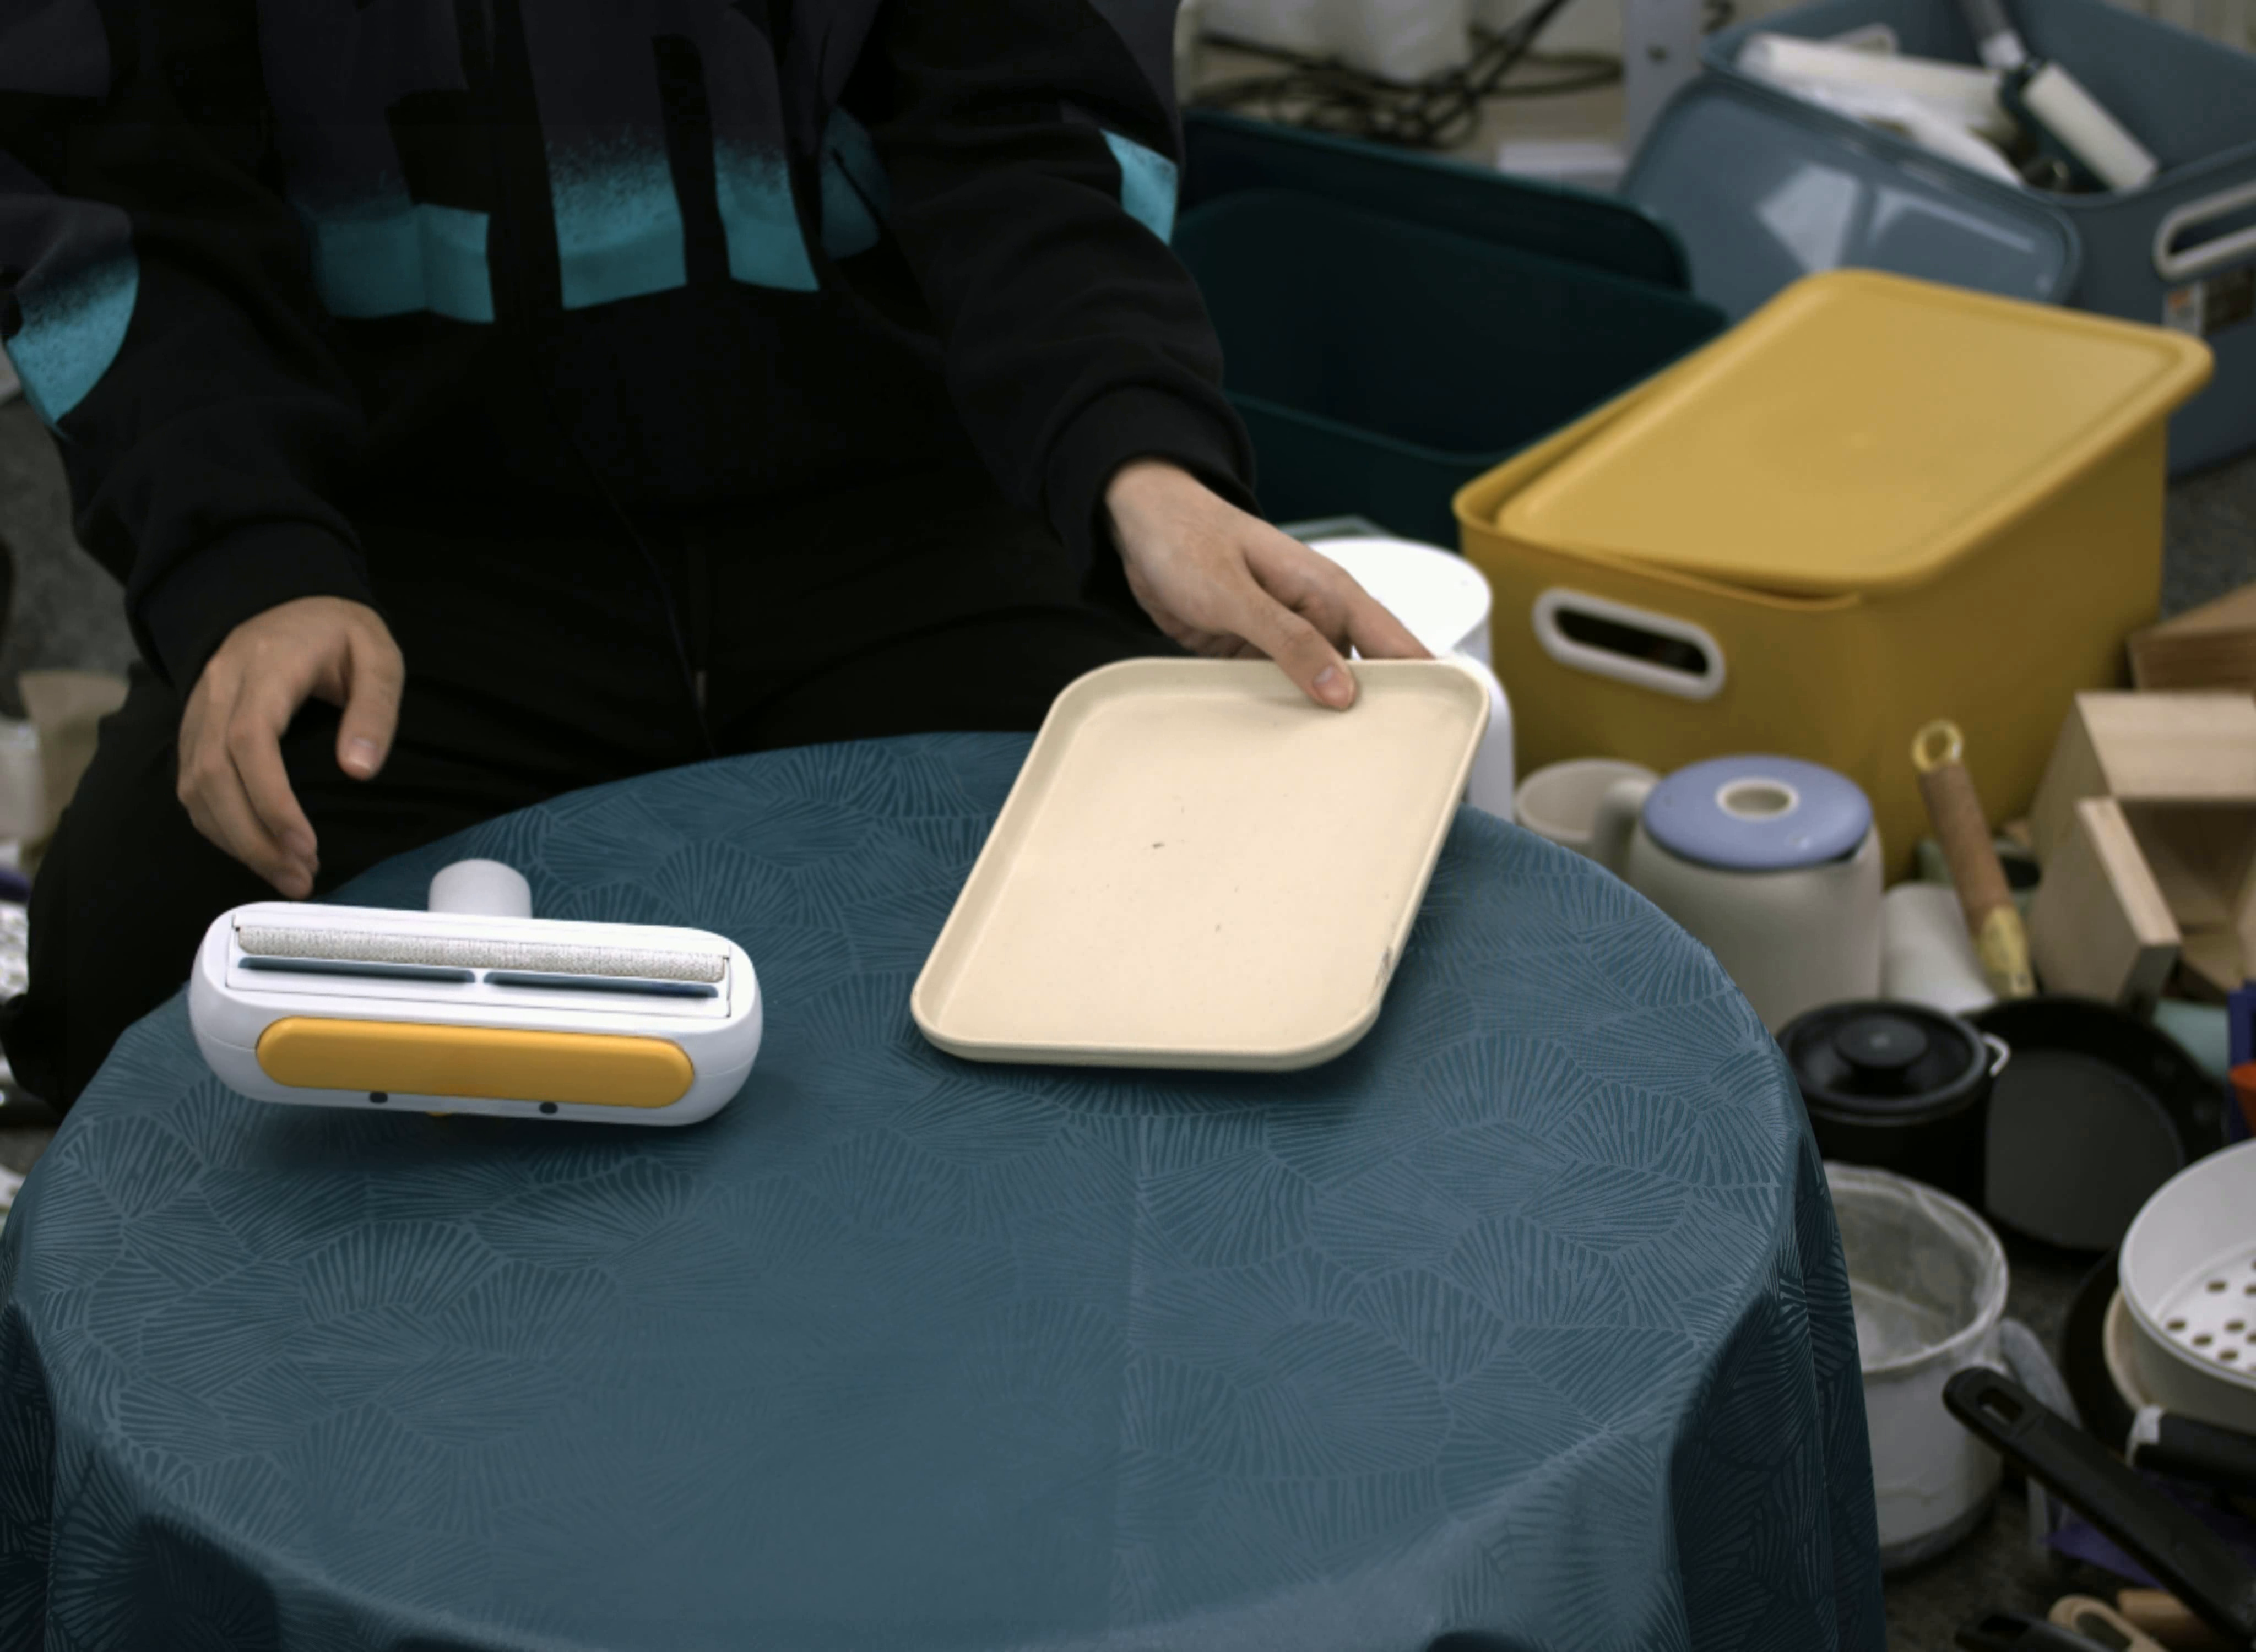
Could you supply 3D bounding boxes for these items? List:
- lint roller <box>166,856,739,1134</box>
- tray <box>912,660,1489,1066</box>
[{"bbox_3d":[-0.229,0.045,1.958,0.192,0.073,0.195,2,26,-2],"label":"lint roller"},{"bbox_3d":[0.029,0.013,2.007,0.170,0.017,0.244,-1,34,19],"label":"tray"}]
